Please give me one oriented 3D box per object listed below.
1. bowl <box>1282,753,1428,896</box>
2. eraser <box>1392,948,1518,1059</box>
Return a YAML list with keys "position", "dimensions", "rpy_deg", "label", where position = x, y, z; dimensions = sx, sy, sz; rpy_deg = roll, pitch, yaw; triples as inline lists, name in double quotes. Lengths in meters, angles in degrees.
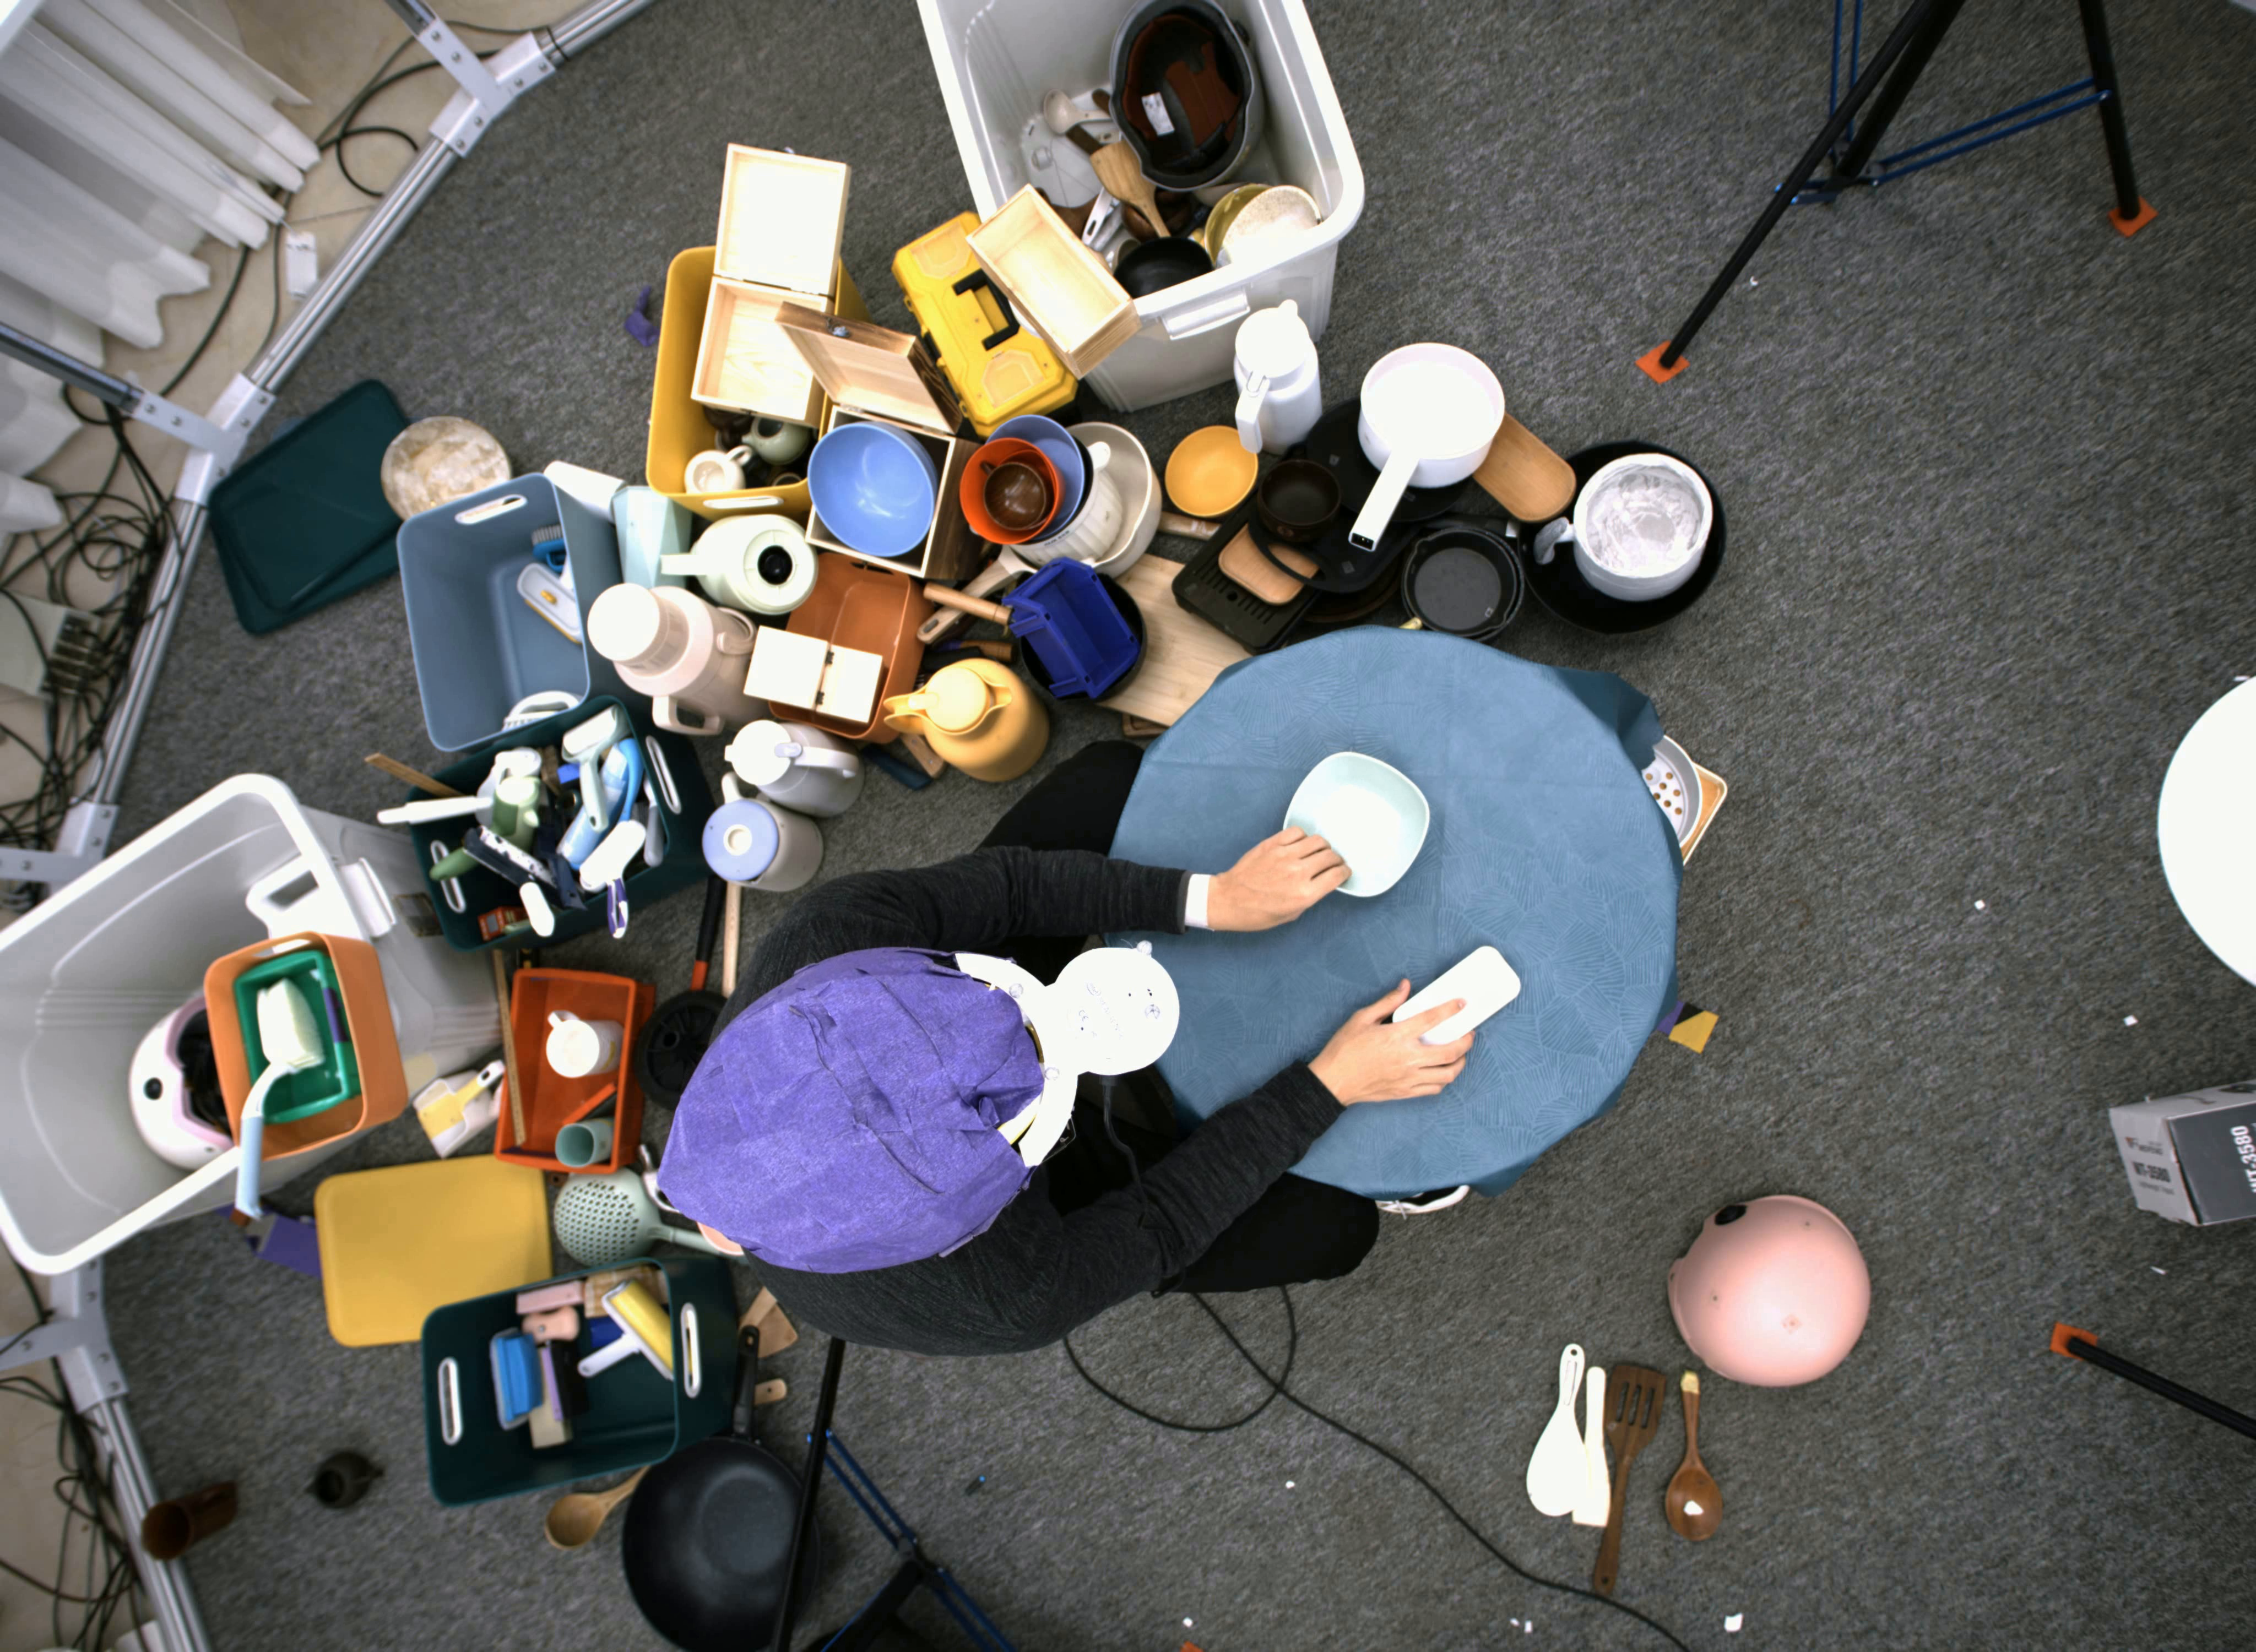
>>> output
- position: [0.236, 0.000, 1.443]
  dimensions: [0.152, 0.059, 0.150]
  rpy_deg: [-1, 85, 9]
  label: "bowl"
- position: [0.336, 0.180, 1.426]
  dimensions: [0.132, 0.034, 0.063]
  rpy_deg: [-37, 79, 5]
  label: "eraser"
